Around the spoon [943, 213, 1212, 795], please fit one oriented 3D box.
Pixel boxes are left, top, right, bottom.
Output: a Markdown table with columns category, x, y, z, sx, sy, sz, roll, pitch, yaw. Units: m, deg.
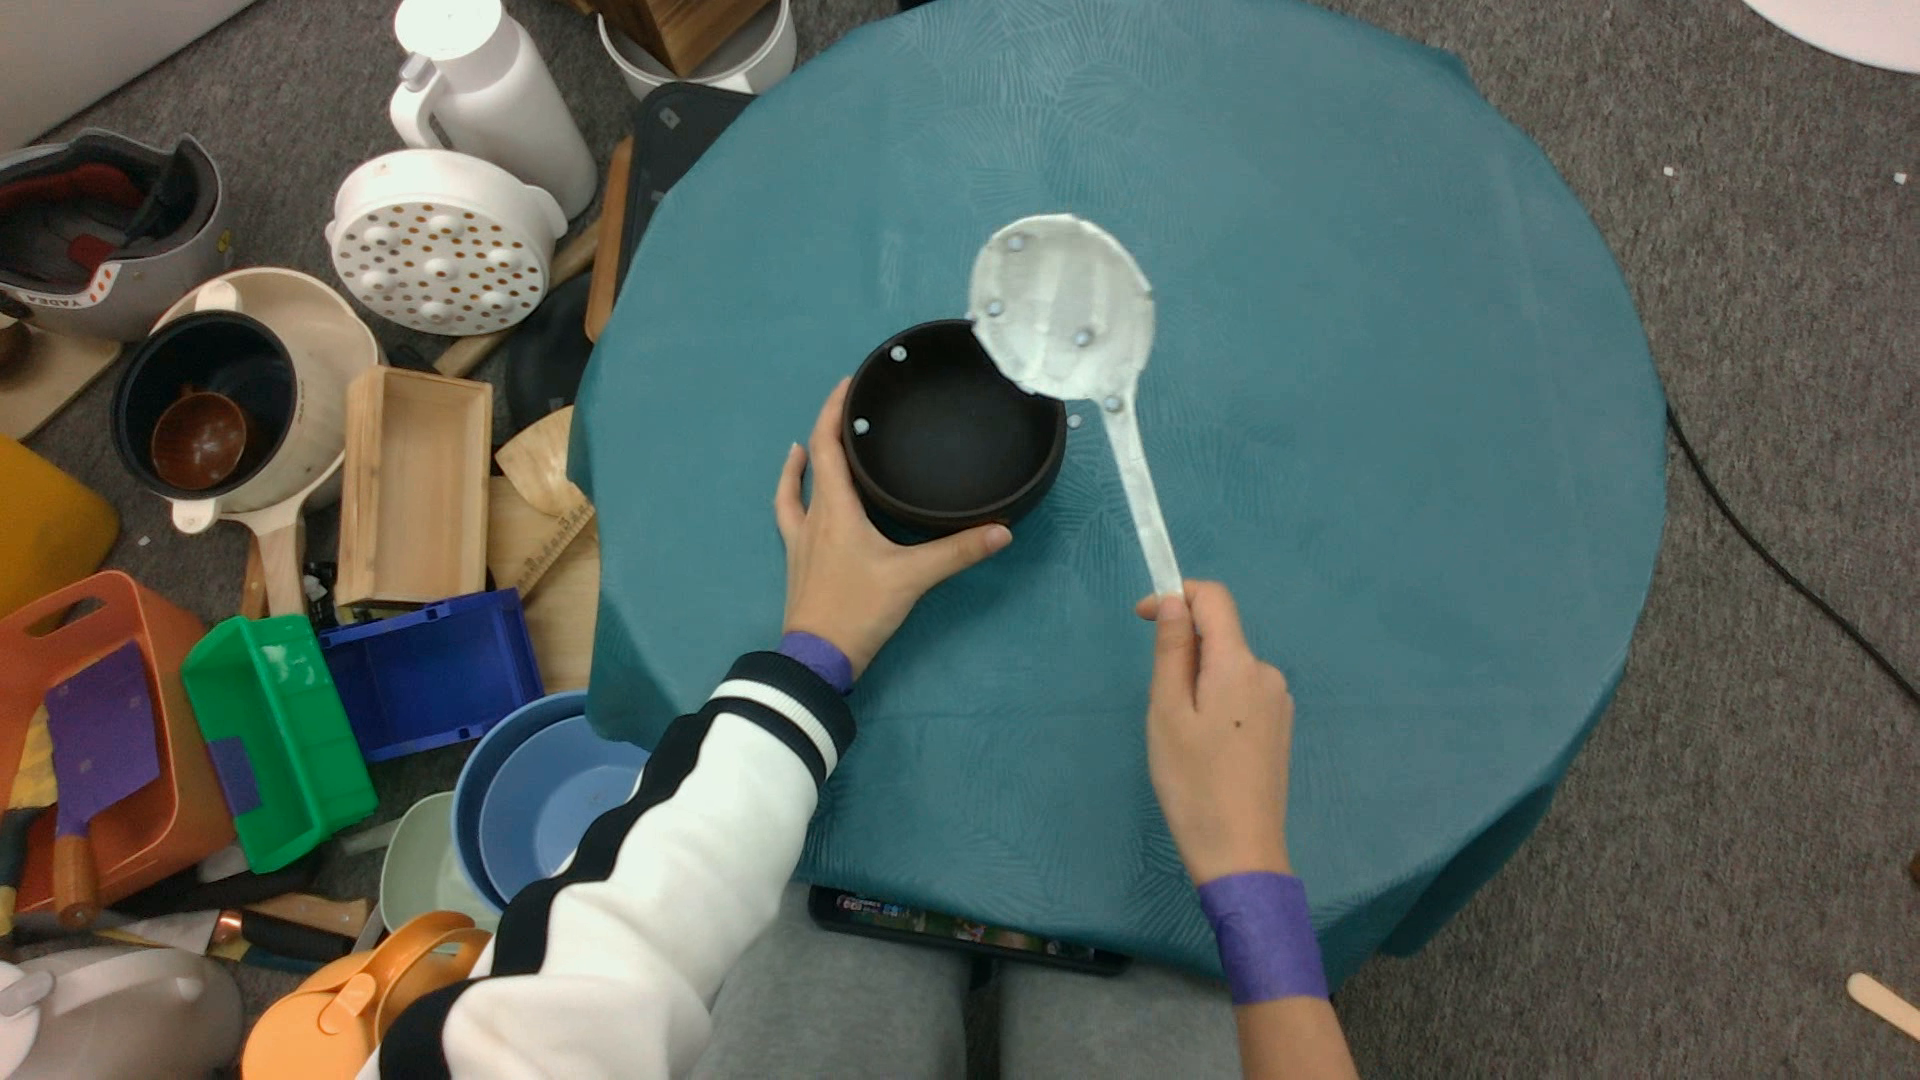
| category | x | y | z | sx | sy | sz | roll | pitch | yaw |
| --- | --- | --- | --- | --- | --- | --- | --- | --- | --- |
| spoon | 0.055 | -0.015 | 0.633 | 0.059 | 0.100 | 0.278 | -5 | 77 | -44 |

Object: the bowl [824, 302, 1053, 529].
| category | x | y | z | sx | sy | sz | roll | pitch | yaw |
| --- | --- | --- | --- | --- | --- | --- | --- | --- | --- |
| bowl | -0.010 | -0.059 | 0.730 | 0.118 | 0.069 | 0.118 | -1 | 70 | 2 |
